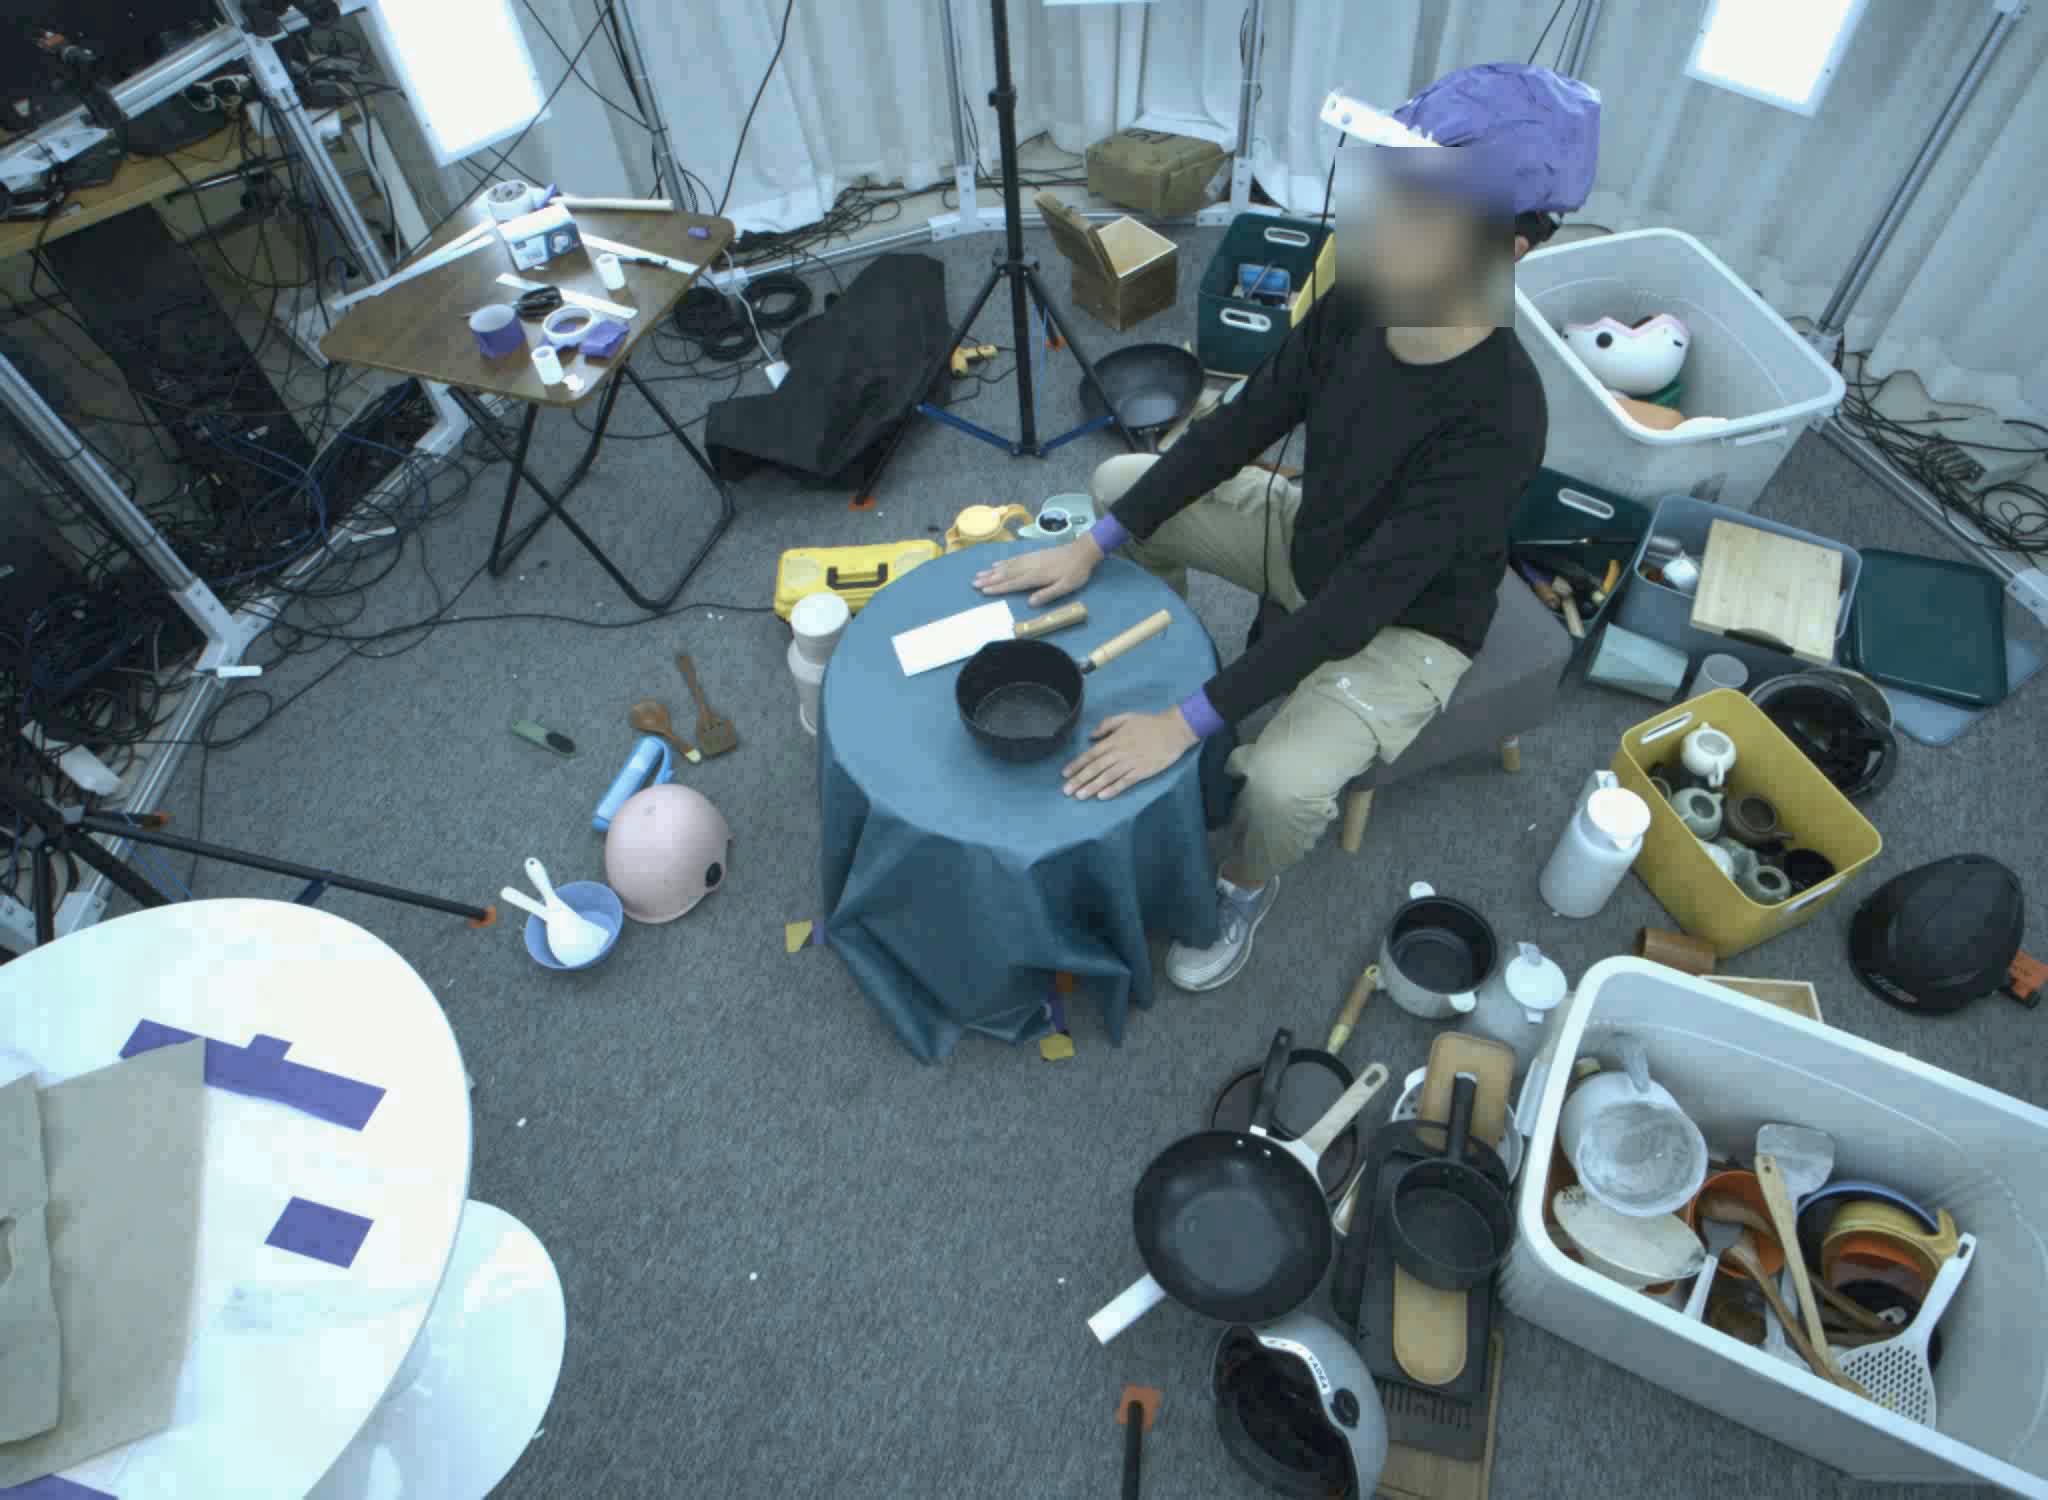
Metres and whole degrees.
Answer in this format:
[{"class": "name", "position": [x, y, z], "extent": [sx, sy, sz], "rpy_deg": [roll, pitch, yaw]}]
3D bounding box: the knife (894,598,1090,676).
[{"class": "knife", "position": [-0.053, -0.193, 1.913], "extent": [0.307, 0.021, 0.091], "rpy_deg": [-19, 55, -9]}]

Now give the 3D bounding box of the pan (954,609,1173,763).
[{"class": "pan", "position": [0.064, -0.106, 1.792], "extent": [0.345, 0.109, 0.203], "rpy_deg": [-26, 57, -14]}]
